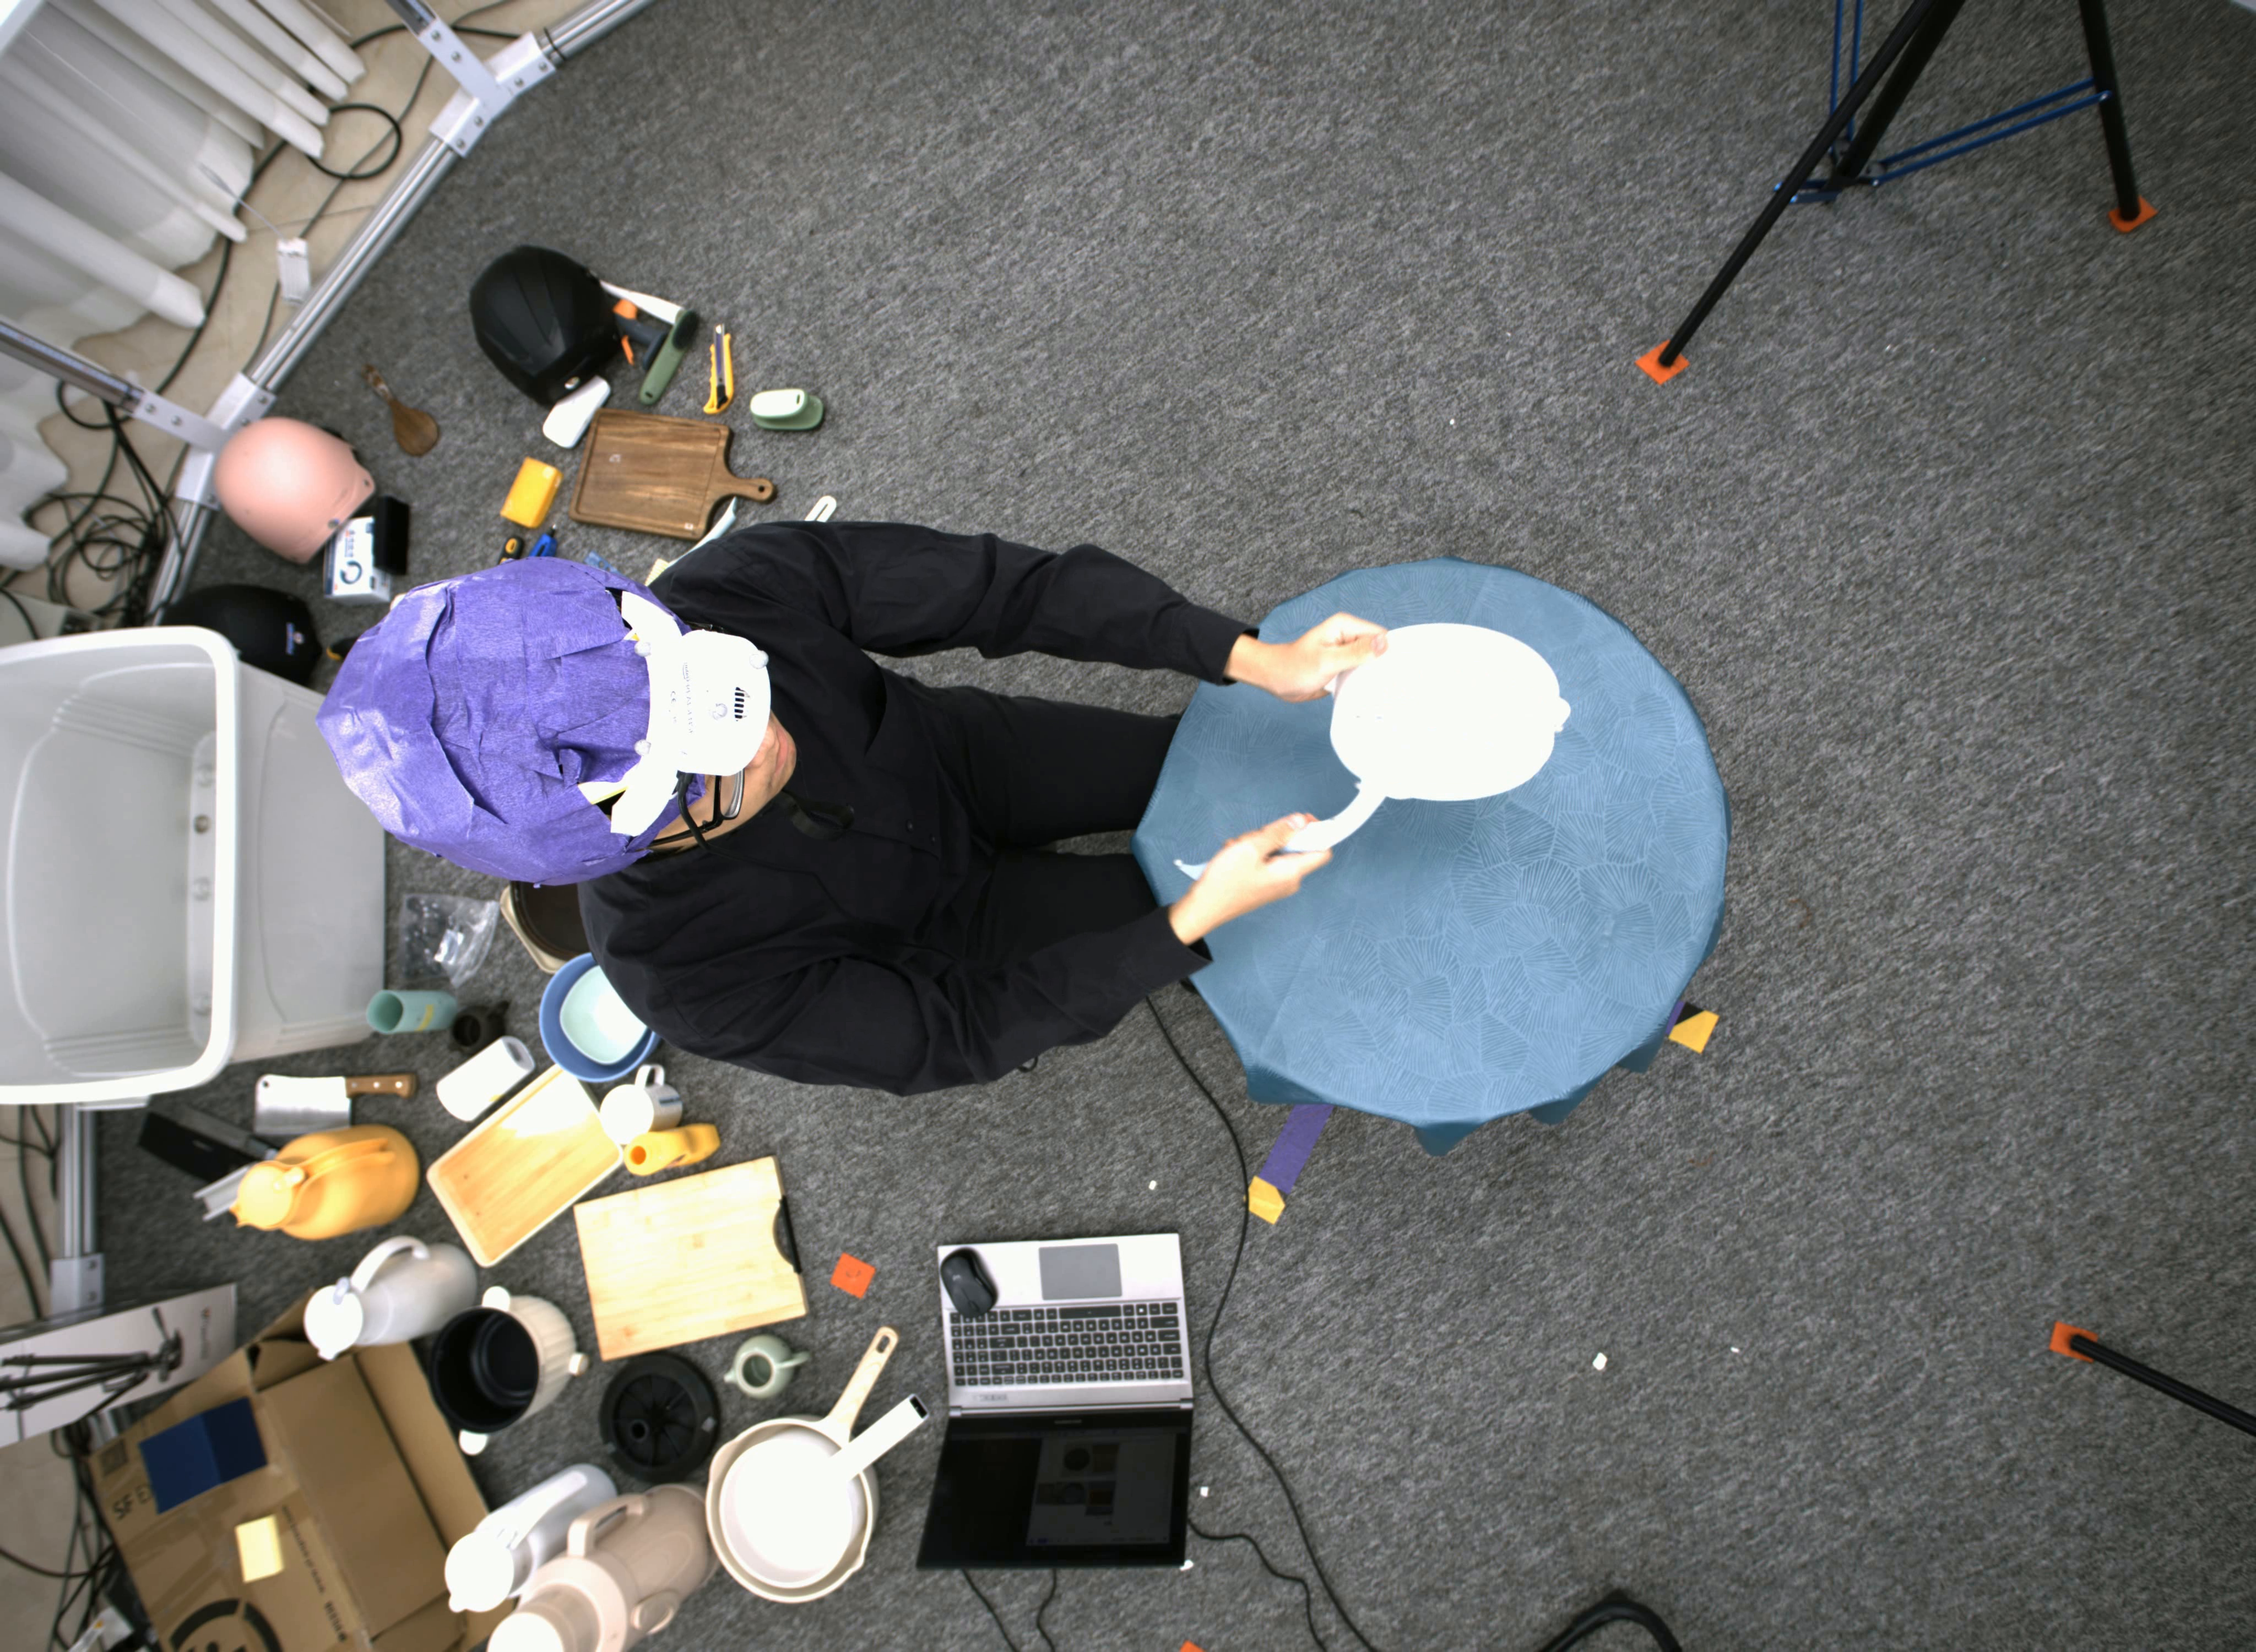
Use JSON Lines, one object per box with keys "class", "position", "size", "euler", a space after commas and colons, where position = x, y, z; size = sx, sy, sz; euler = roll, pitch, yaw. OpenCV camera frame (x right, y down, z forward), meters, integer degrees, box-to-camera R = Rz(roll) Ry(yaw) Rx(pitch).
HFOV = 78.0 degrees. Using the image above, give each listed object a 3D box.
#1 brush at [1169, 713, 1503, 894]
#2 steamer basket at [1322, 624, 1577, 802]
{"class": "brush", "position": [0.174, -0.034, 1.224], "size": [0.330, 0.082, 0.084], "euler": [-22, 108, 25]}
{"class": "steamer basket", "position": [0.286, -0.094, 1.221], "size": [0.231, 0.206, 0.067], "euler": [12, 62, -5]}
